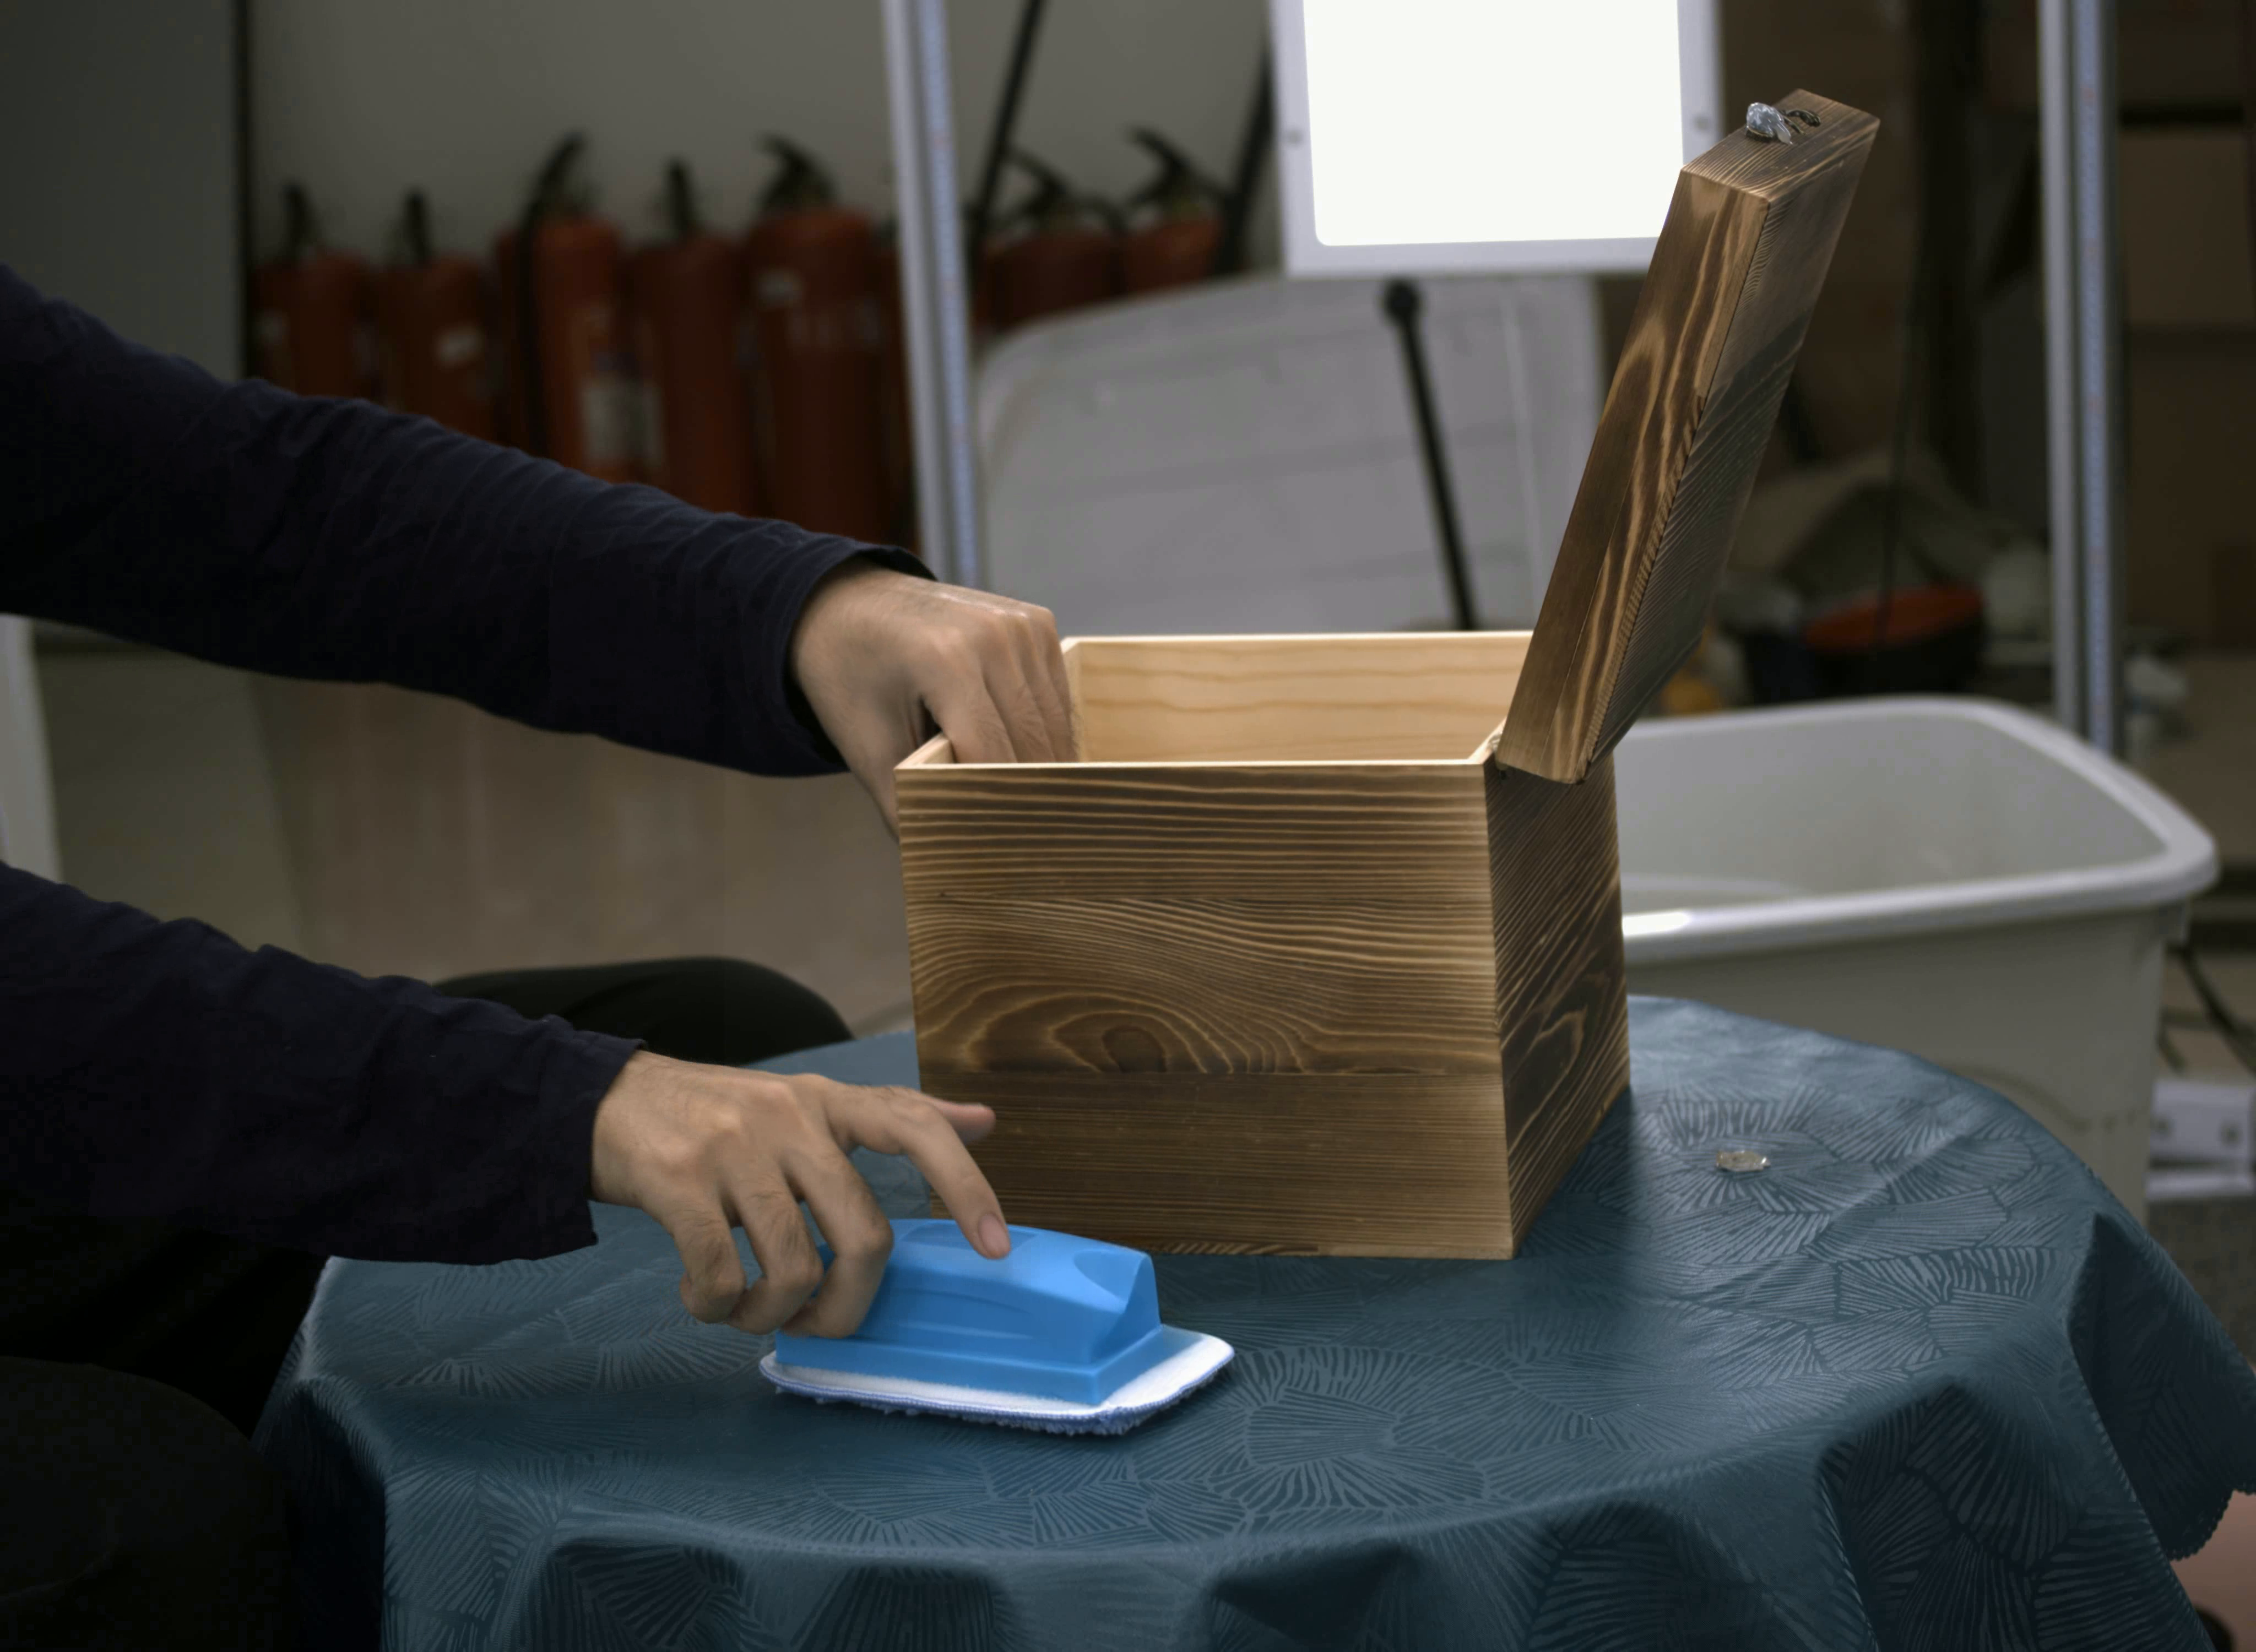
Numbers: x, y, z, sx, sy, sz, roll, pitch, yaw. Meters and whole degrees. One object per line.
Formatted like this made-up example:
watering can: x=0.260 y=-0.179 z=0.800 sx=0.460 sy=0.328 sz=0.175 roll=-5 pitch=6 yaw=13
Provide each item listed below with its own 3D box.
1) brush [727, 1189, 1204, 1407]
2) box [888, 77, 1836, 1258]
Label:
brush: x=-0.051 y=0.145 z=1.713 sx=0.147 sy=0.056 sz=0.082 roll=7 pitch=15 yaw=35
box: x=0.093 y=-0.058 z=1.856 sx=0.326 sy=0.377 sz=0.205 roll=-1 pitch=14 yaw=18
